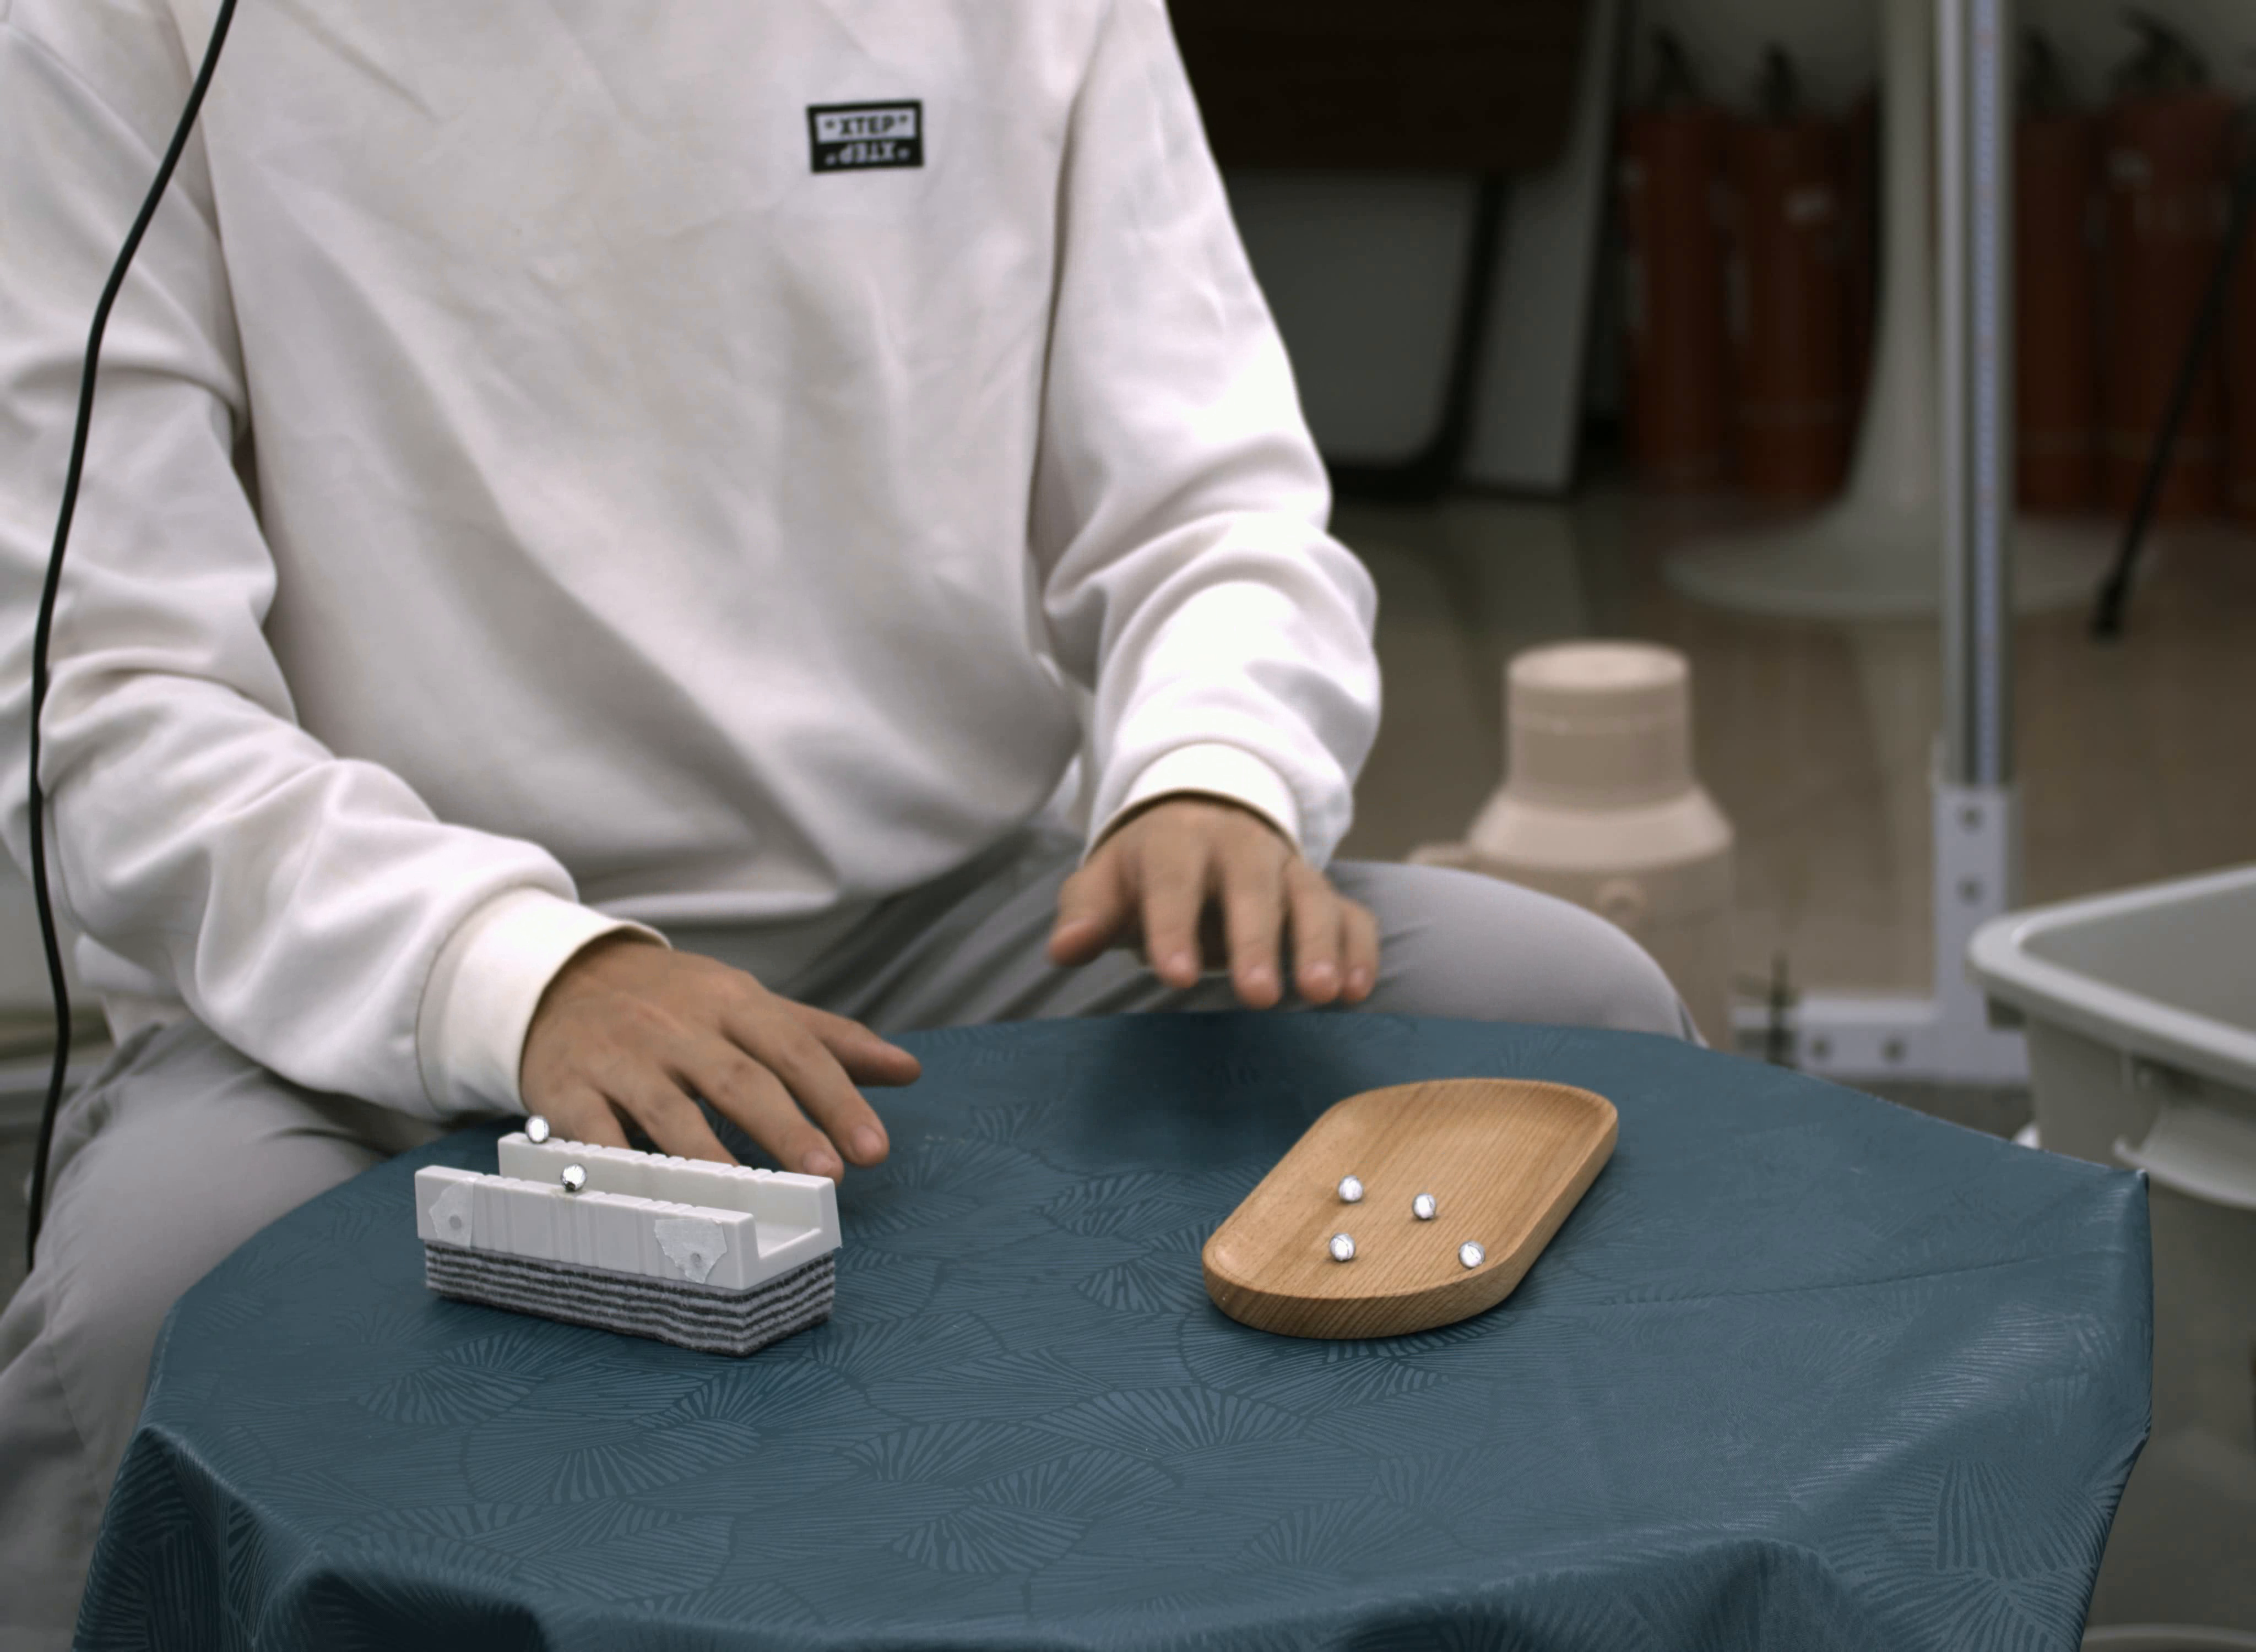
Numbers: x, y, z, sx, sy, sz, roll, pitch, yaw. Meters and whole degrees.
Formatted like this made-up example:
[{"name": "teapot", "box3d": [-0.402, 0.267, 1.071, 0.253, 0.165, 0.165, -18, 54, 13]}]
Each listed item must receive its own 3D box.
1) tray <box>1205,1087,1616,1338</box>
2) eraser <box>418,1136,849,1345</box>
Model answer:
[{"name": "tray", "box3d": [0.093, 0.121, 1.719, 0.101, 0.020, 0.229, 1, 12, 17]}, {"name": "eraser", "box3d": [-0.154, 0.129, 1.684, 0.135, 0.047, 0.049, 4, 10, 33]}]
